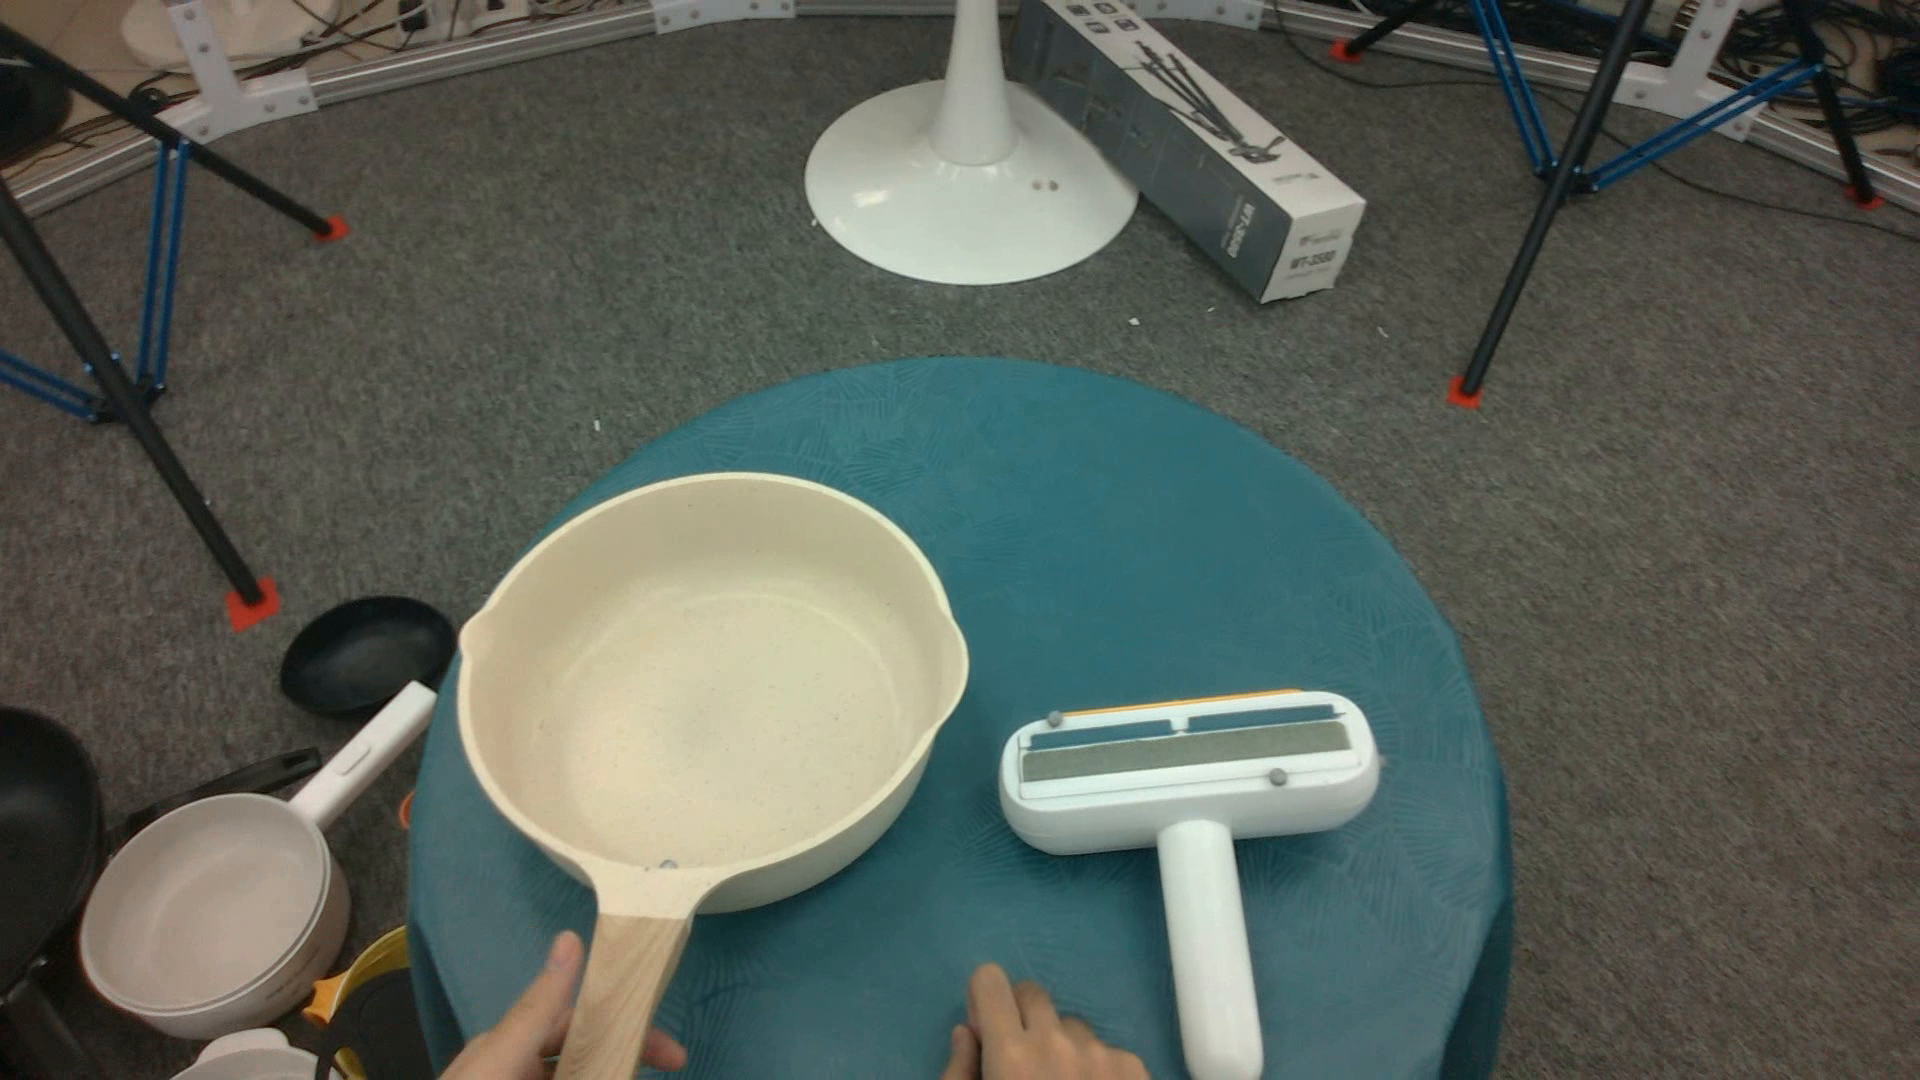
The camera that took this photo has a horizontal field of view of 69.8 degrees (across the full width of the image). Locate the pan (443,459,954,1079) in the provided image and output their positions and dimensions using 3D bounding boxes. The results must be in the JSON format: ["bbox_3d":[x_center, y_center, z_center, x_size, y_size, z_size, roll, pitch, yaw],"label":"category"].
[{"bbox_3d":[-0.142,0.143,0.674,0.263,0.101,0.437,5,50,0],"label":"pan"}]

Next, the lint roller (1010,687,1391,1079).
[{"bbox_3d":[0.121,0.165,0.685,0.193,0.074,0.193,-1,52,4],"label":"lint roller"}]
